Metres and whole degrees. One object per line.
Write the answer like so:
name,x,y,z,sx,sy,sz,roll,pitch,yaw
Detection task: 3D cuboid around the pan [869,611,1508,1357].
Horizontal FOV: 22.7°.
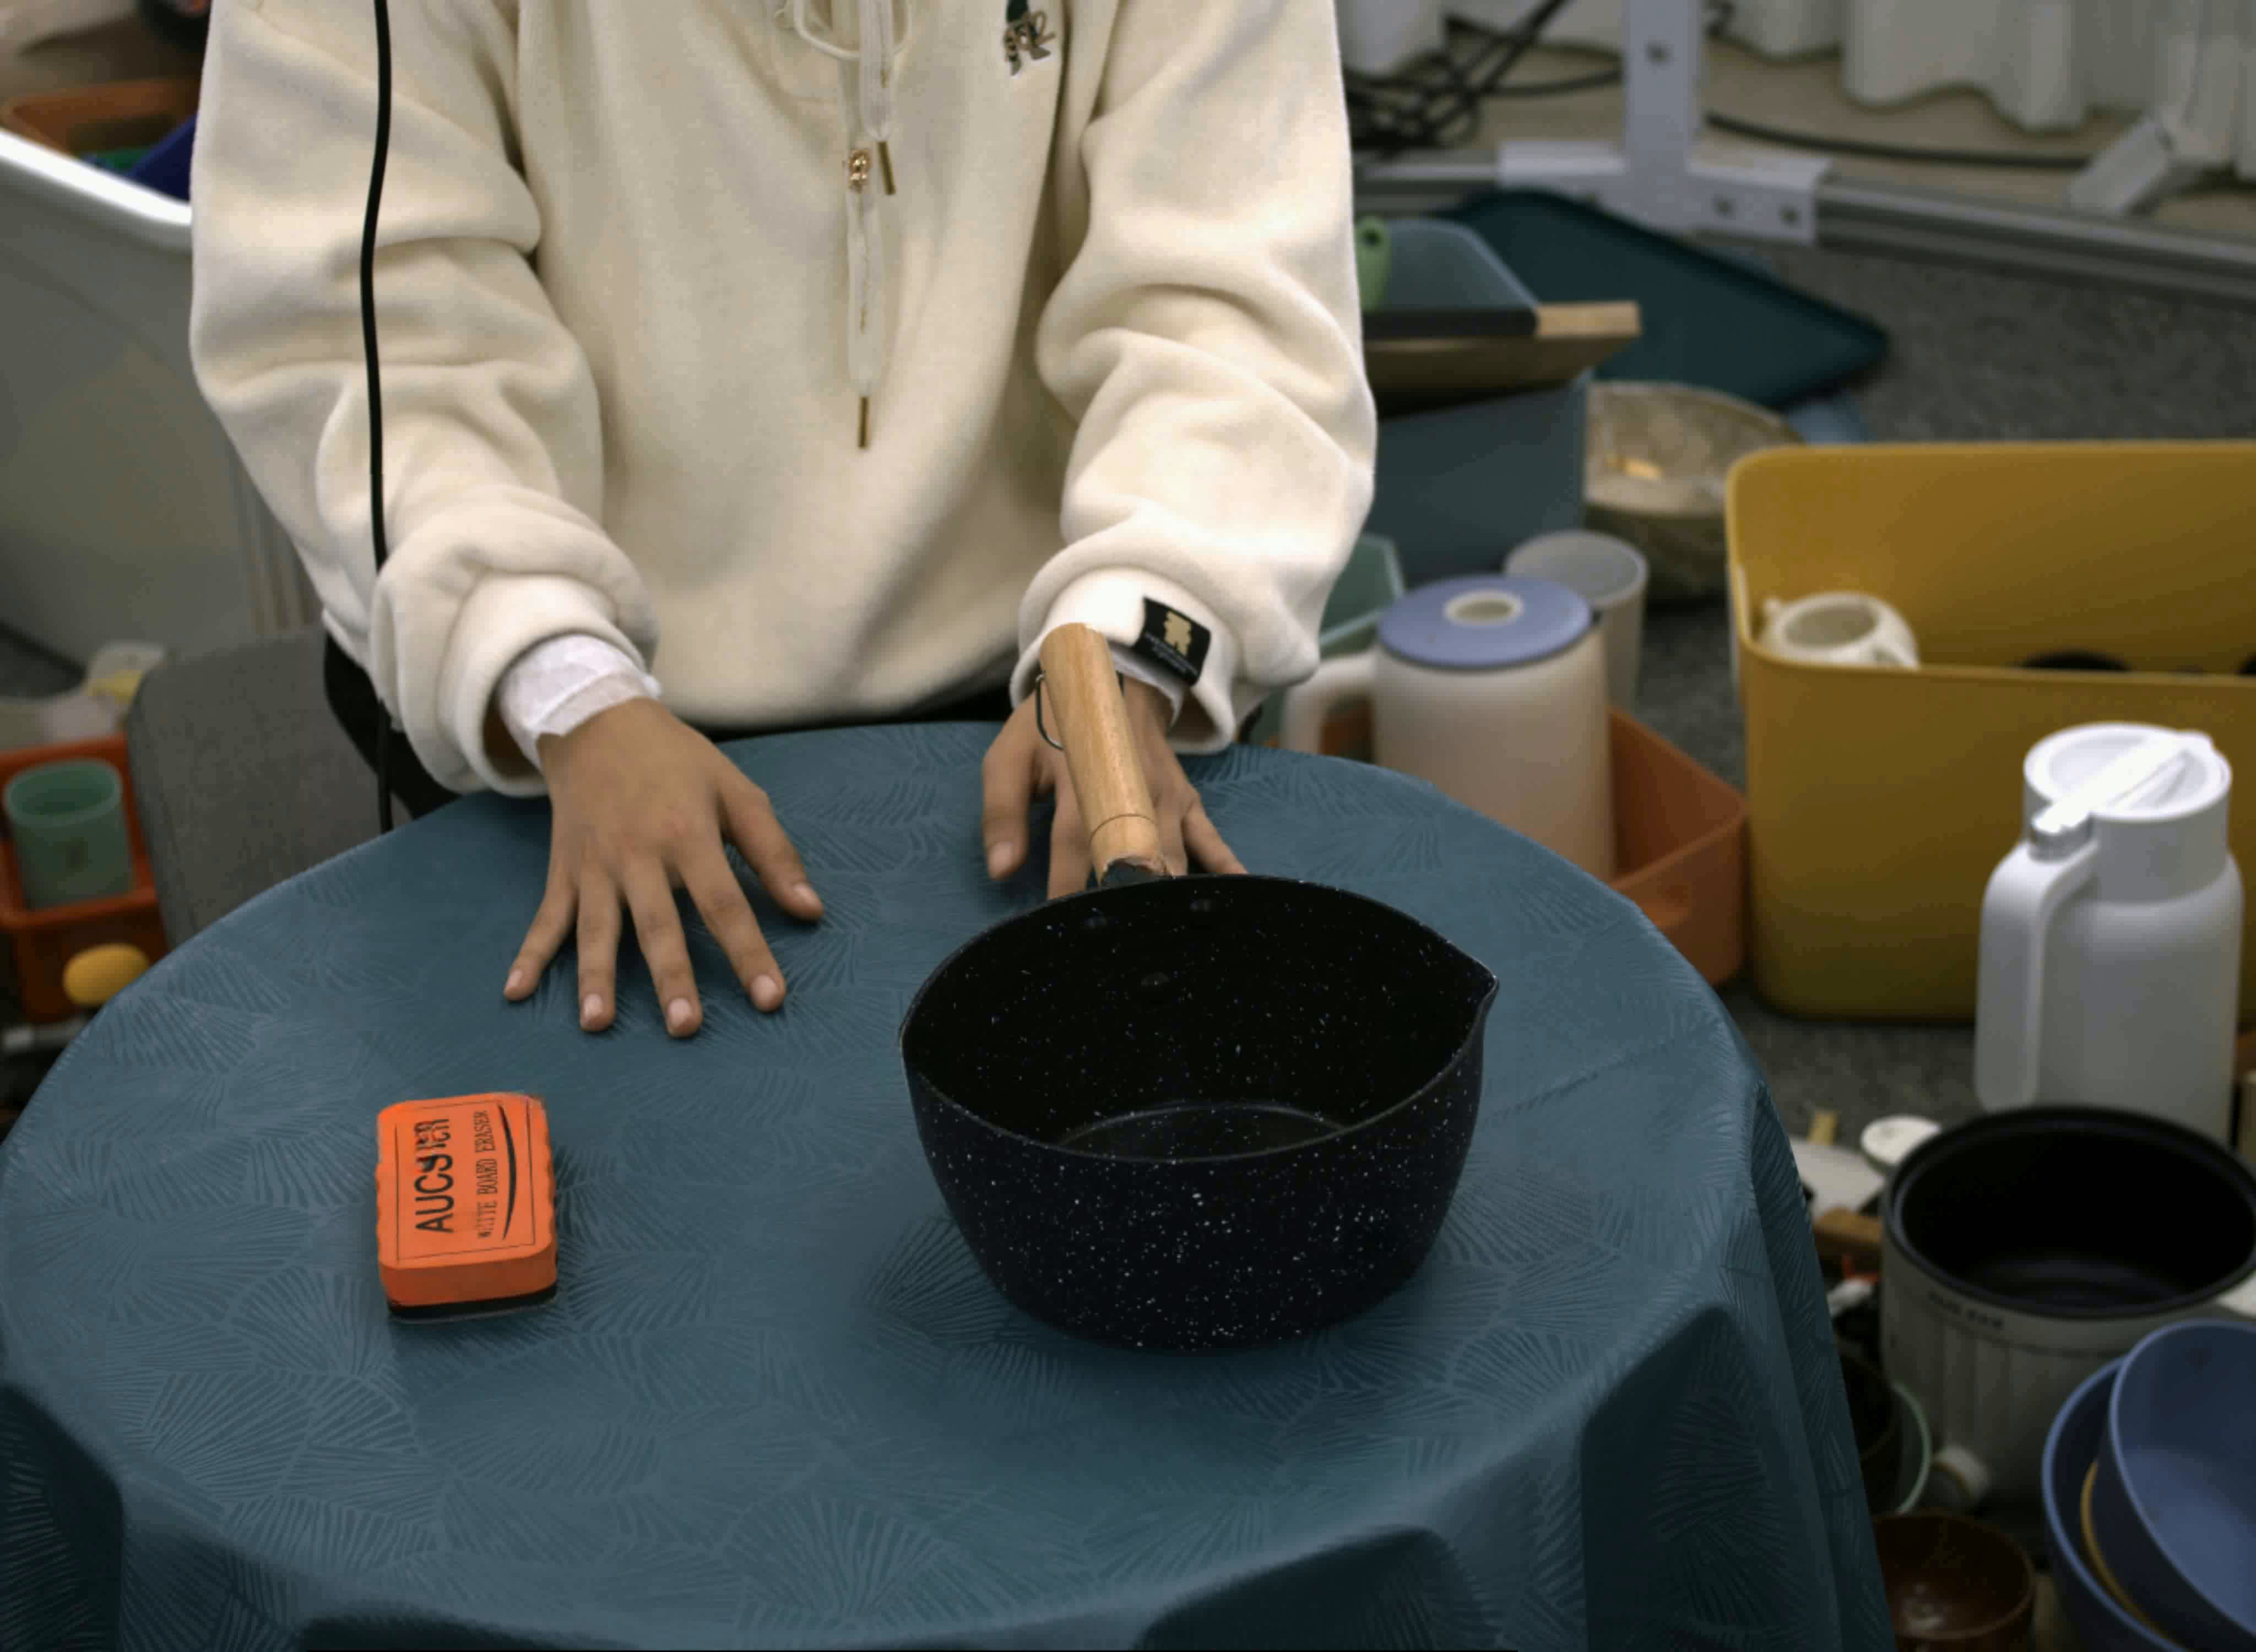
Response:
pan,0.008,0.049,1.884,0.207,0.107,0.347,-8,29,-8

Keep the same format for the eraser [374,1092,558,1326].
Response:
eraser,-0.218,0.126,1.850,0.059,0.022,0.109,-6,27,-3
